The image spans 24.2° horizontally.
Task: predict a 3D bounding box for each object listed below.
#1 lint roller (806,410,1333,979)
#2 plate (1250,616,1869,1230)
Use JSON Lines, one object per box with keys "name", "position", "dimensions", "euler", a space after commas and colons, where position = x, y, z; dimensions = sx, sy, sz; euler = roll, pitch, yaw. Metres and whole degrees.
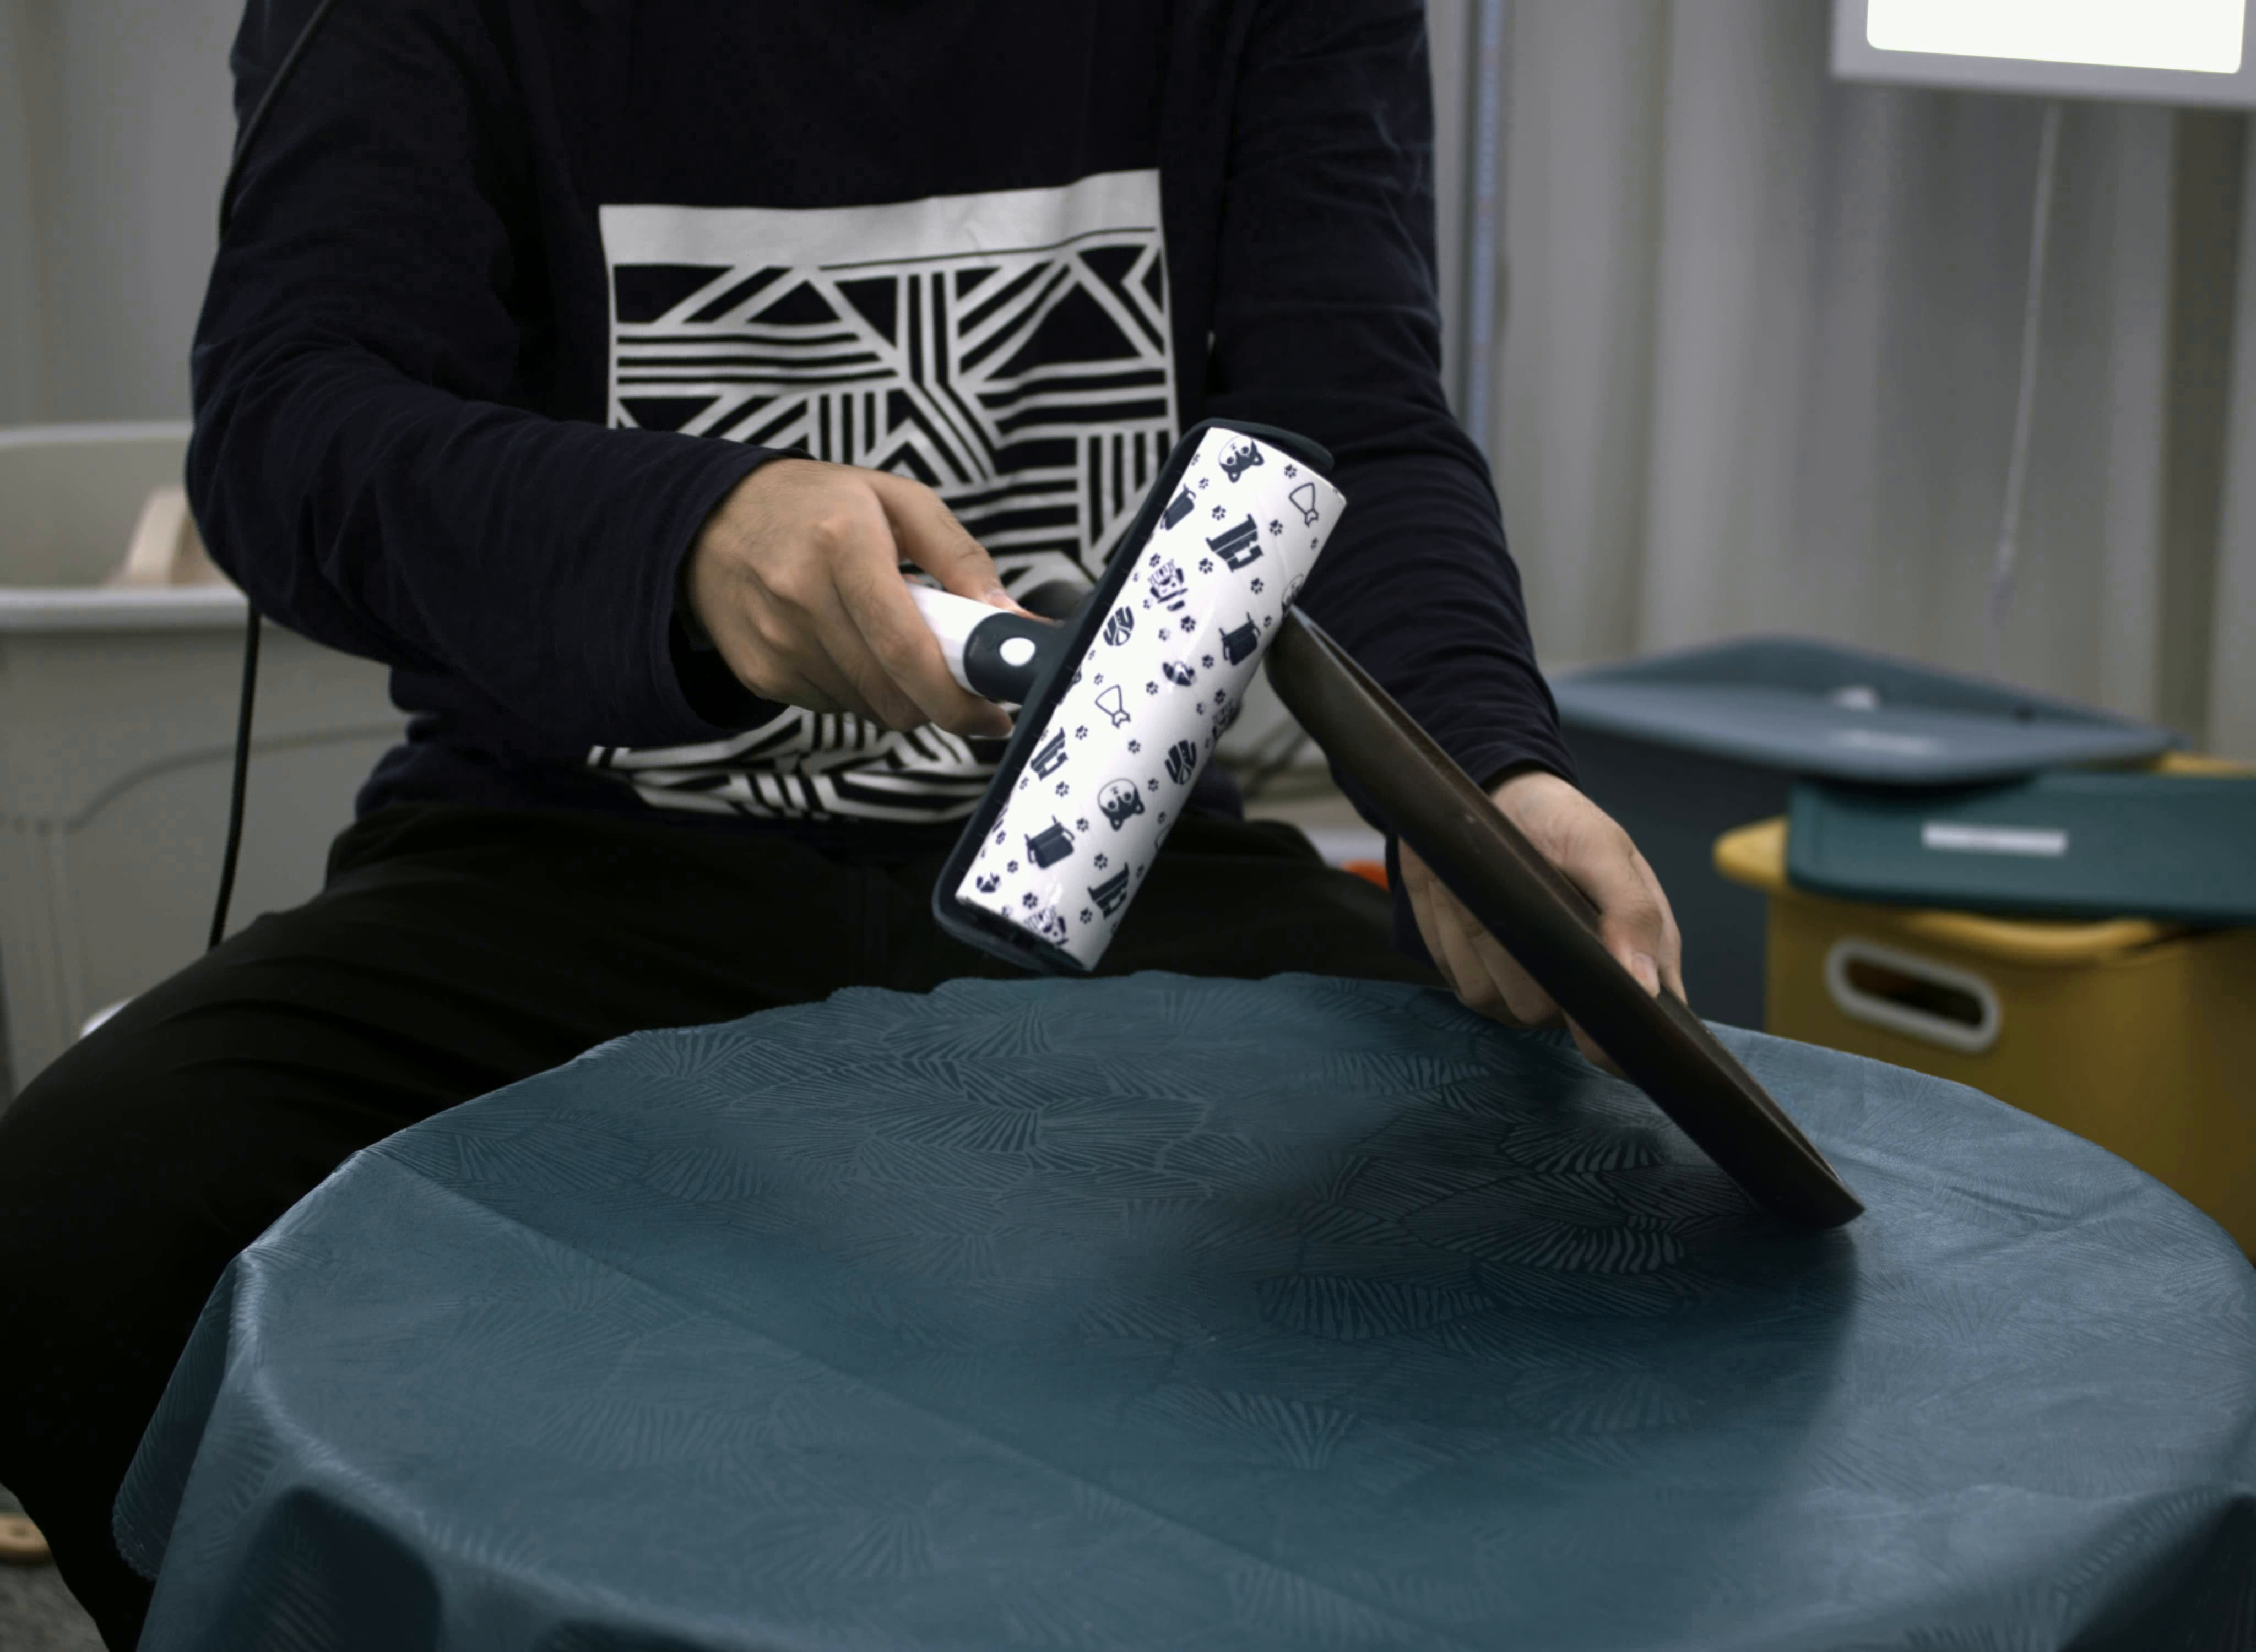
{"name": "lint roller", "position": [-0.045, -0.054, 1.624], "dimensions": [0.051, 0.176, 0.244], "euler": [30, -7, -32]}
{"name": "plate", "position": [0.127, 0.031, 1.586], "dimensions": [0.029, 0.257, 0.252], "euler": [-44, 20, 3]}
